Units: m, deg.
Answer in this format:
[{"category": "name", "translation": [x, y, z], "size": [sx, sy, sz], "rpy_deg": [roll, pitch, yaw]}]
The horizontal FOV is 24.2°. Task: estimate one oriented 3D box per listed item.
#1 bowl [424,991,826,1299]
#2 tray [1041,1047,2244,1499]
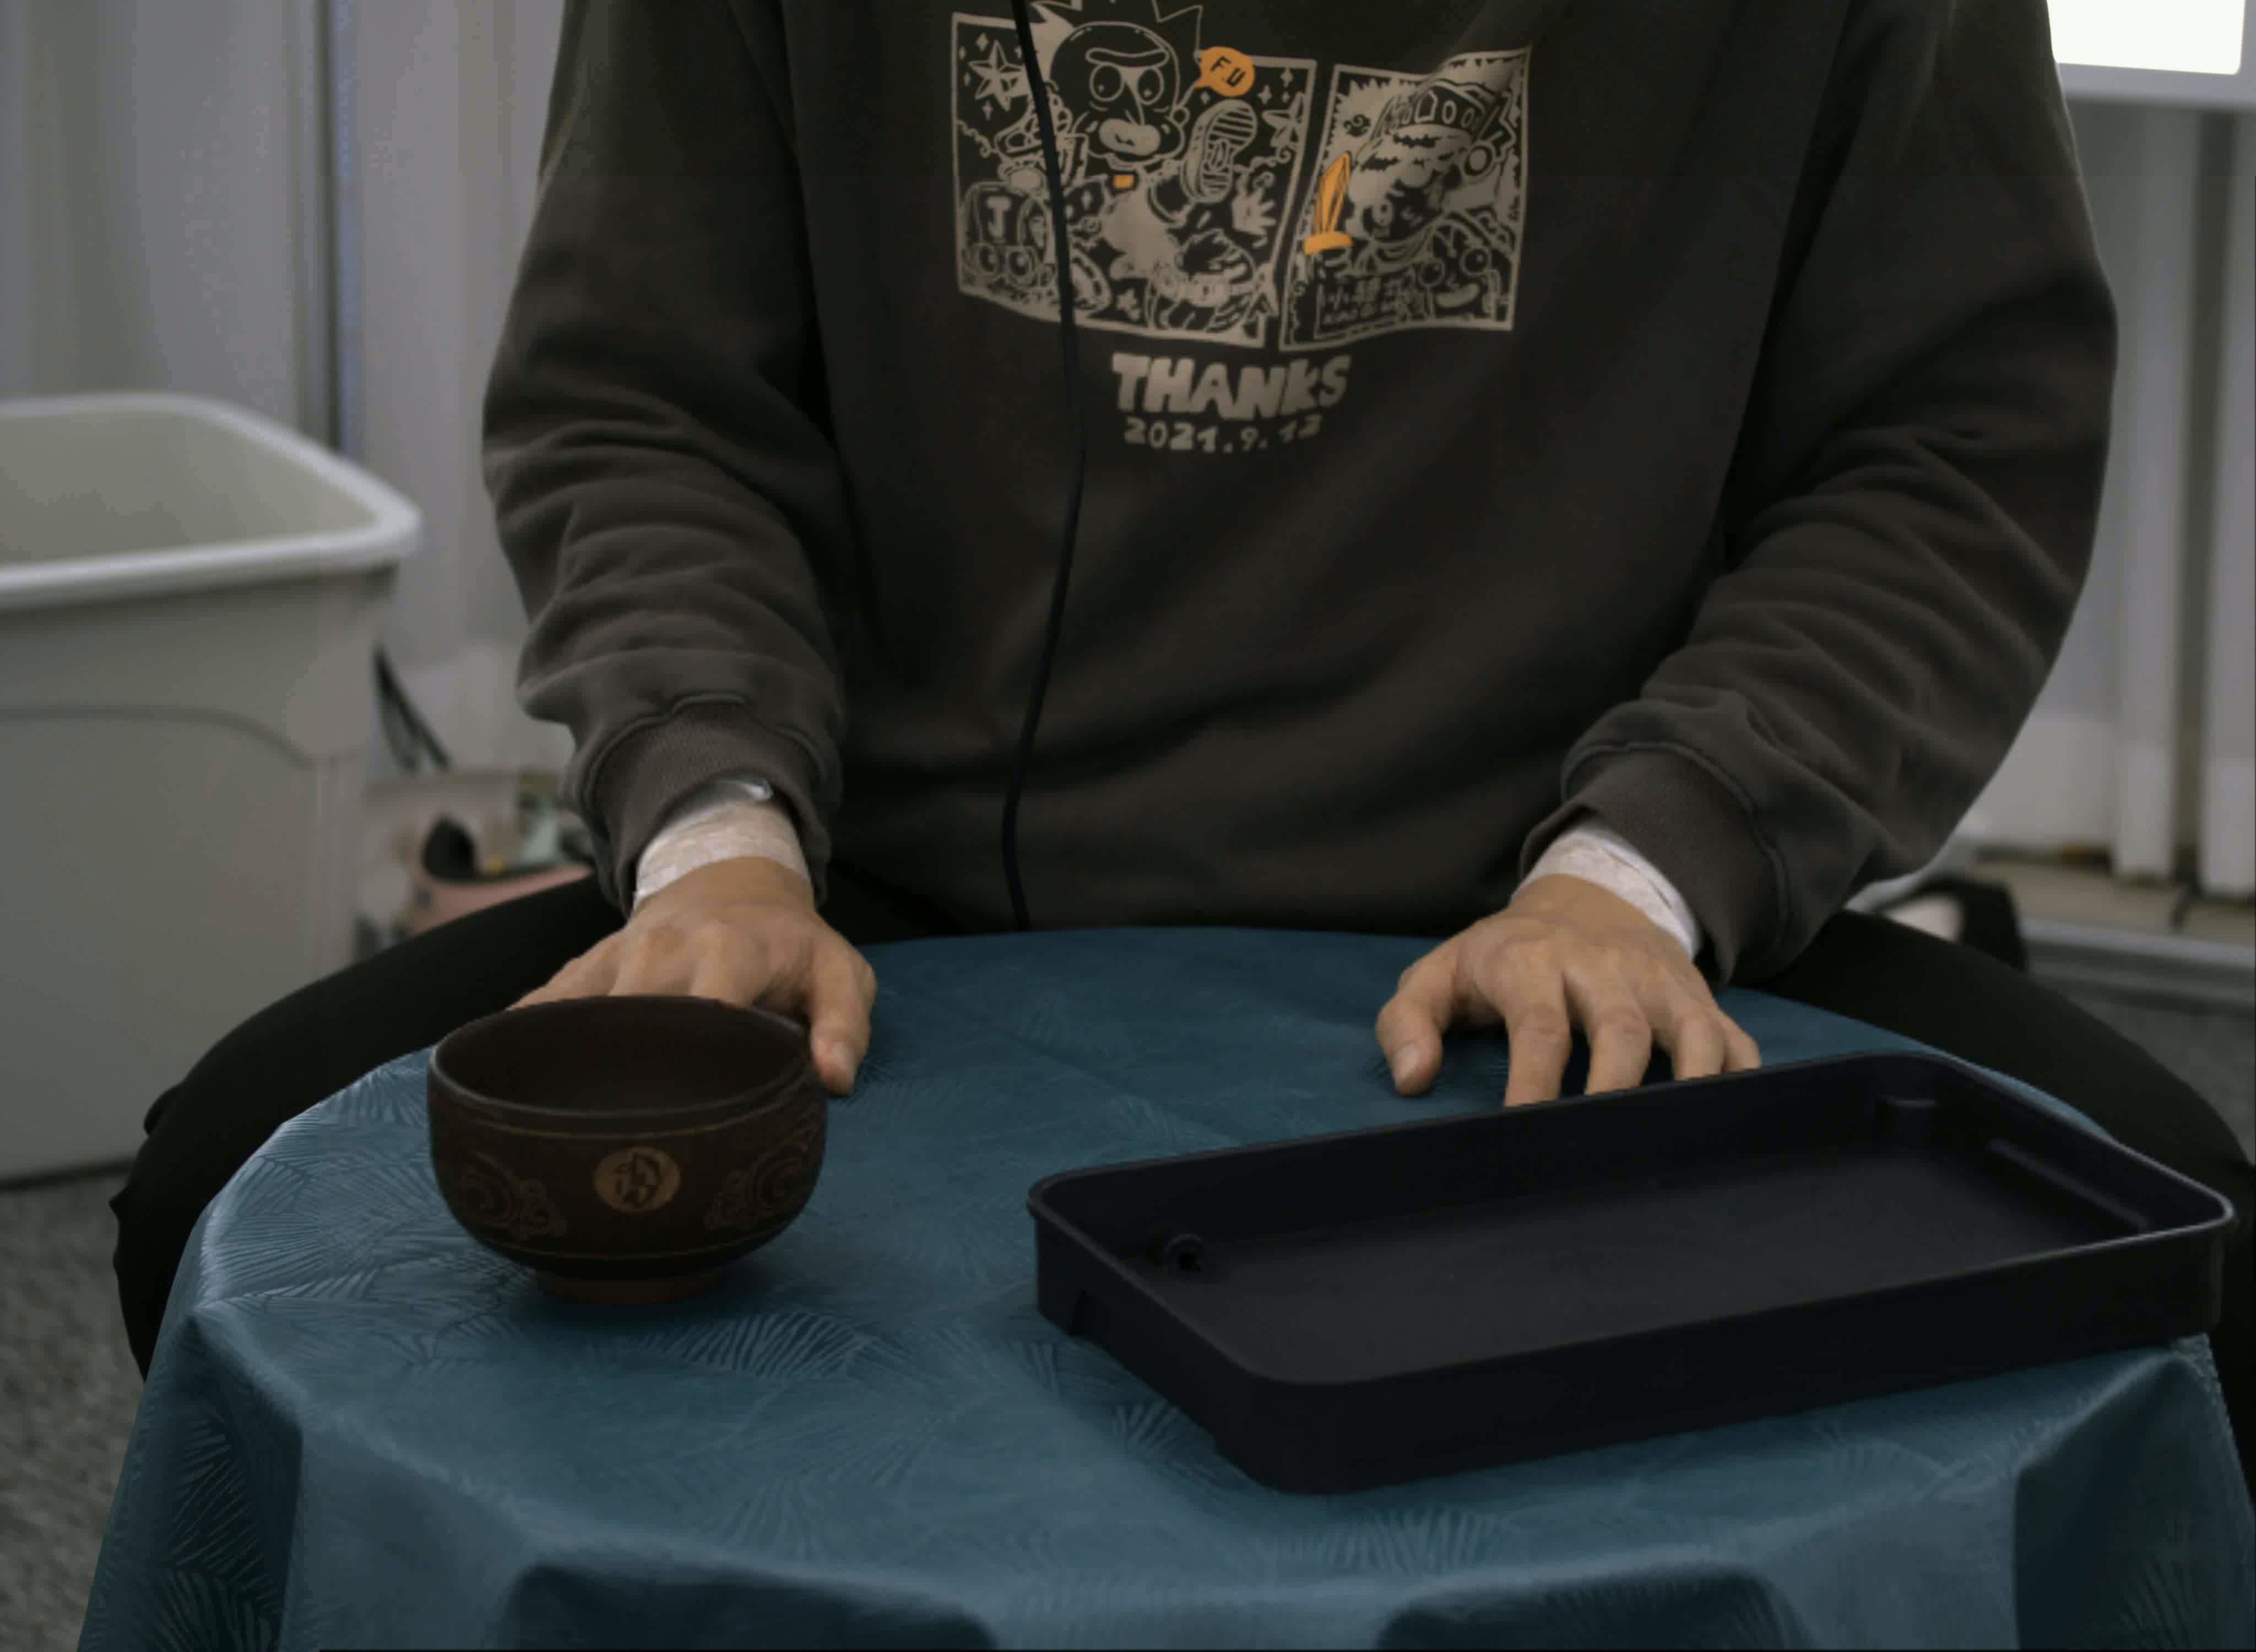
[{"category": "bowl", "translation": [-0.147, 0.097, 1.546], "size": [0.117, 0.070, 0.117], "rpy_deg": [0, 14, 1]}, {"category": "tray", "translation": [0.149, 0.124, 1.529], "size": [0.319, 0.037, 0.182], "rpy_deg": [-8, 17, -26]}]
